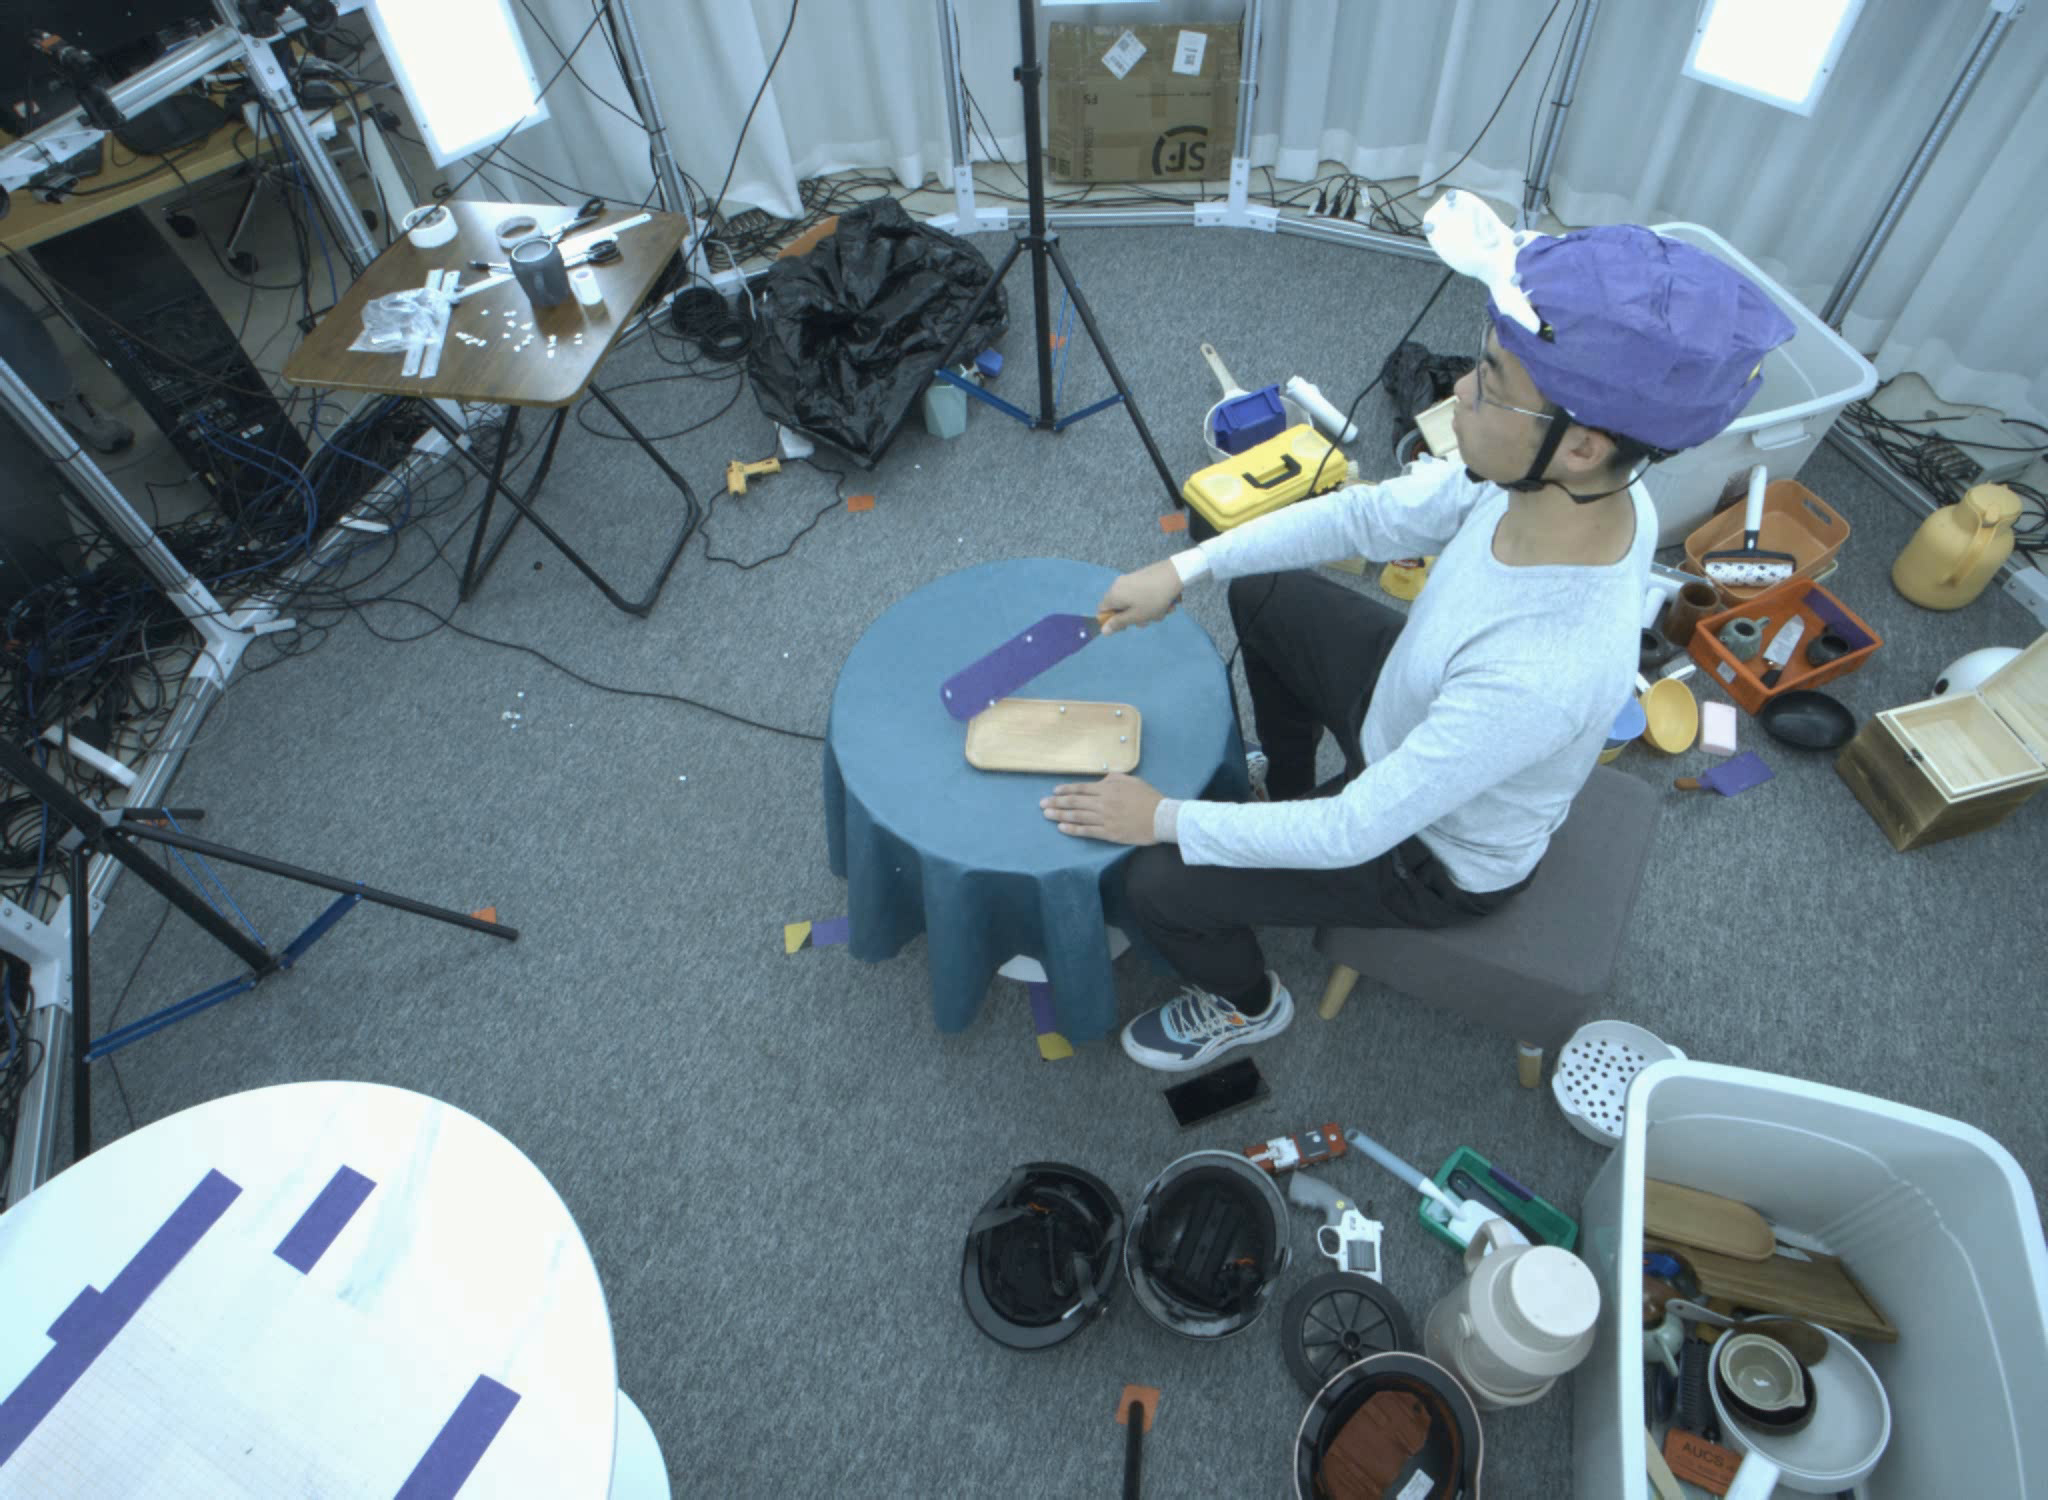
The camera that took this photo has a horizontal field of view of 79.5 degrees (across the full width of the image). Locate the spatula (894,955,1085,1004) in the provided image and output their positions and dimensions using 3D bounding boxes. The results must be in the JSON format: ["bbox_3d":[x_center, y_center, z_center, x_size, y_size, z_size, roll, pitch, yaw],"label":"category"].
[{"bbox_3d":[-0.065,0.426,2.220,0.352,0.076,0.087,1,38,29],"label":"spatula"}]

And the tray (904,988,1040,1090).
[{"bbox_3d":[-0.100,0.533,2.296,0.247,0.023,0.131,27,57,19],"label":"tray"}]
